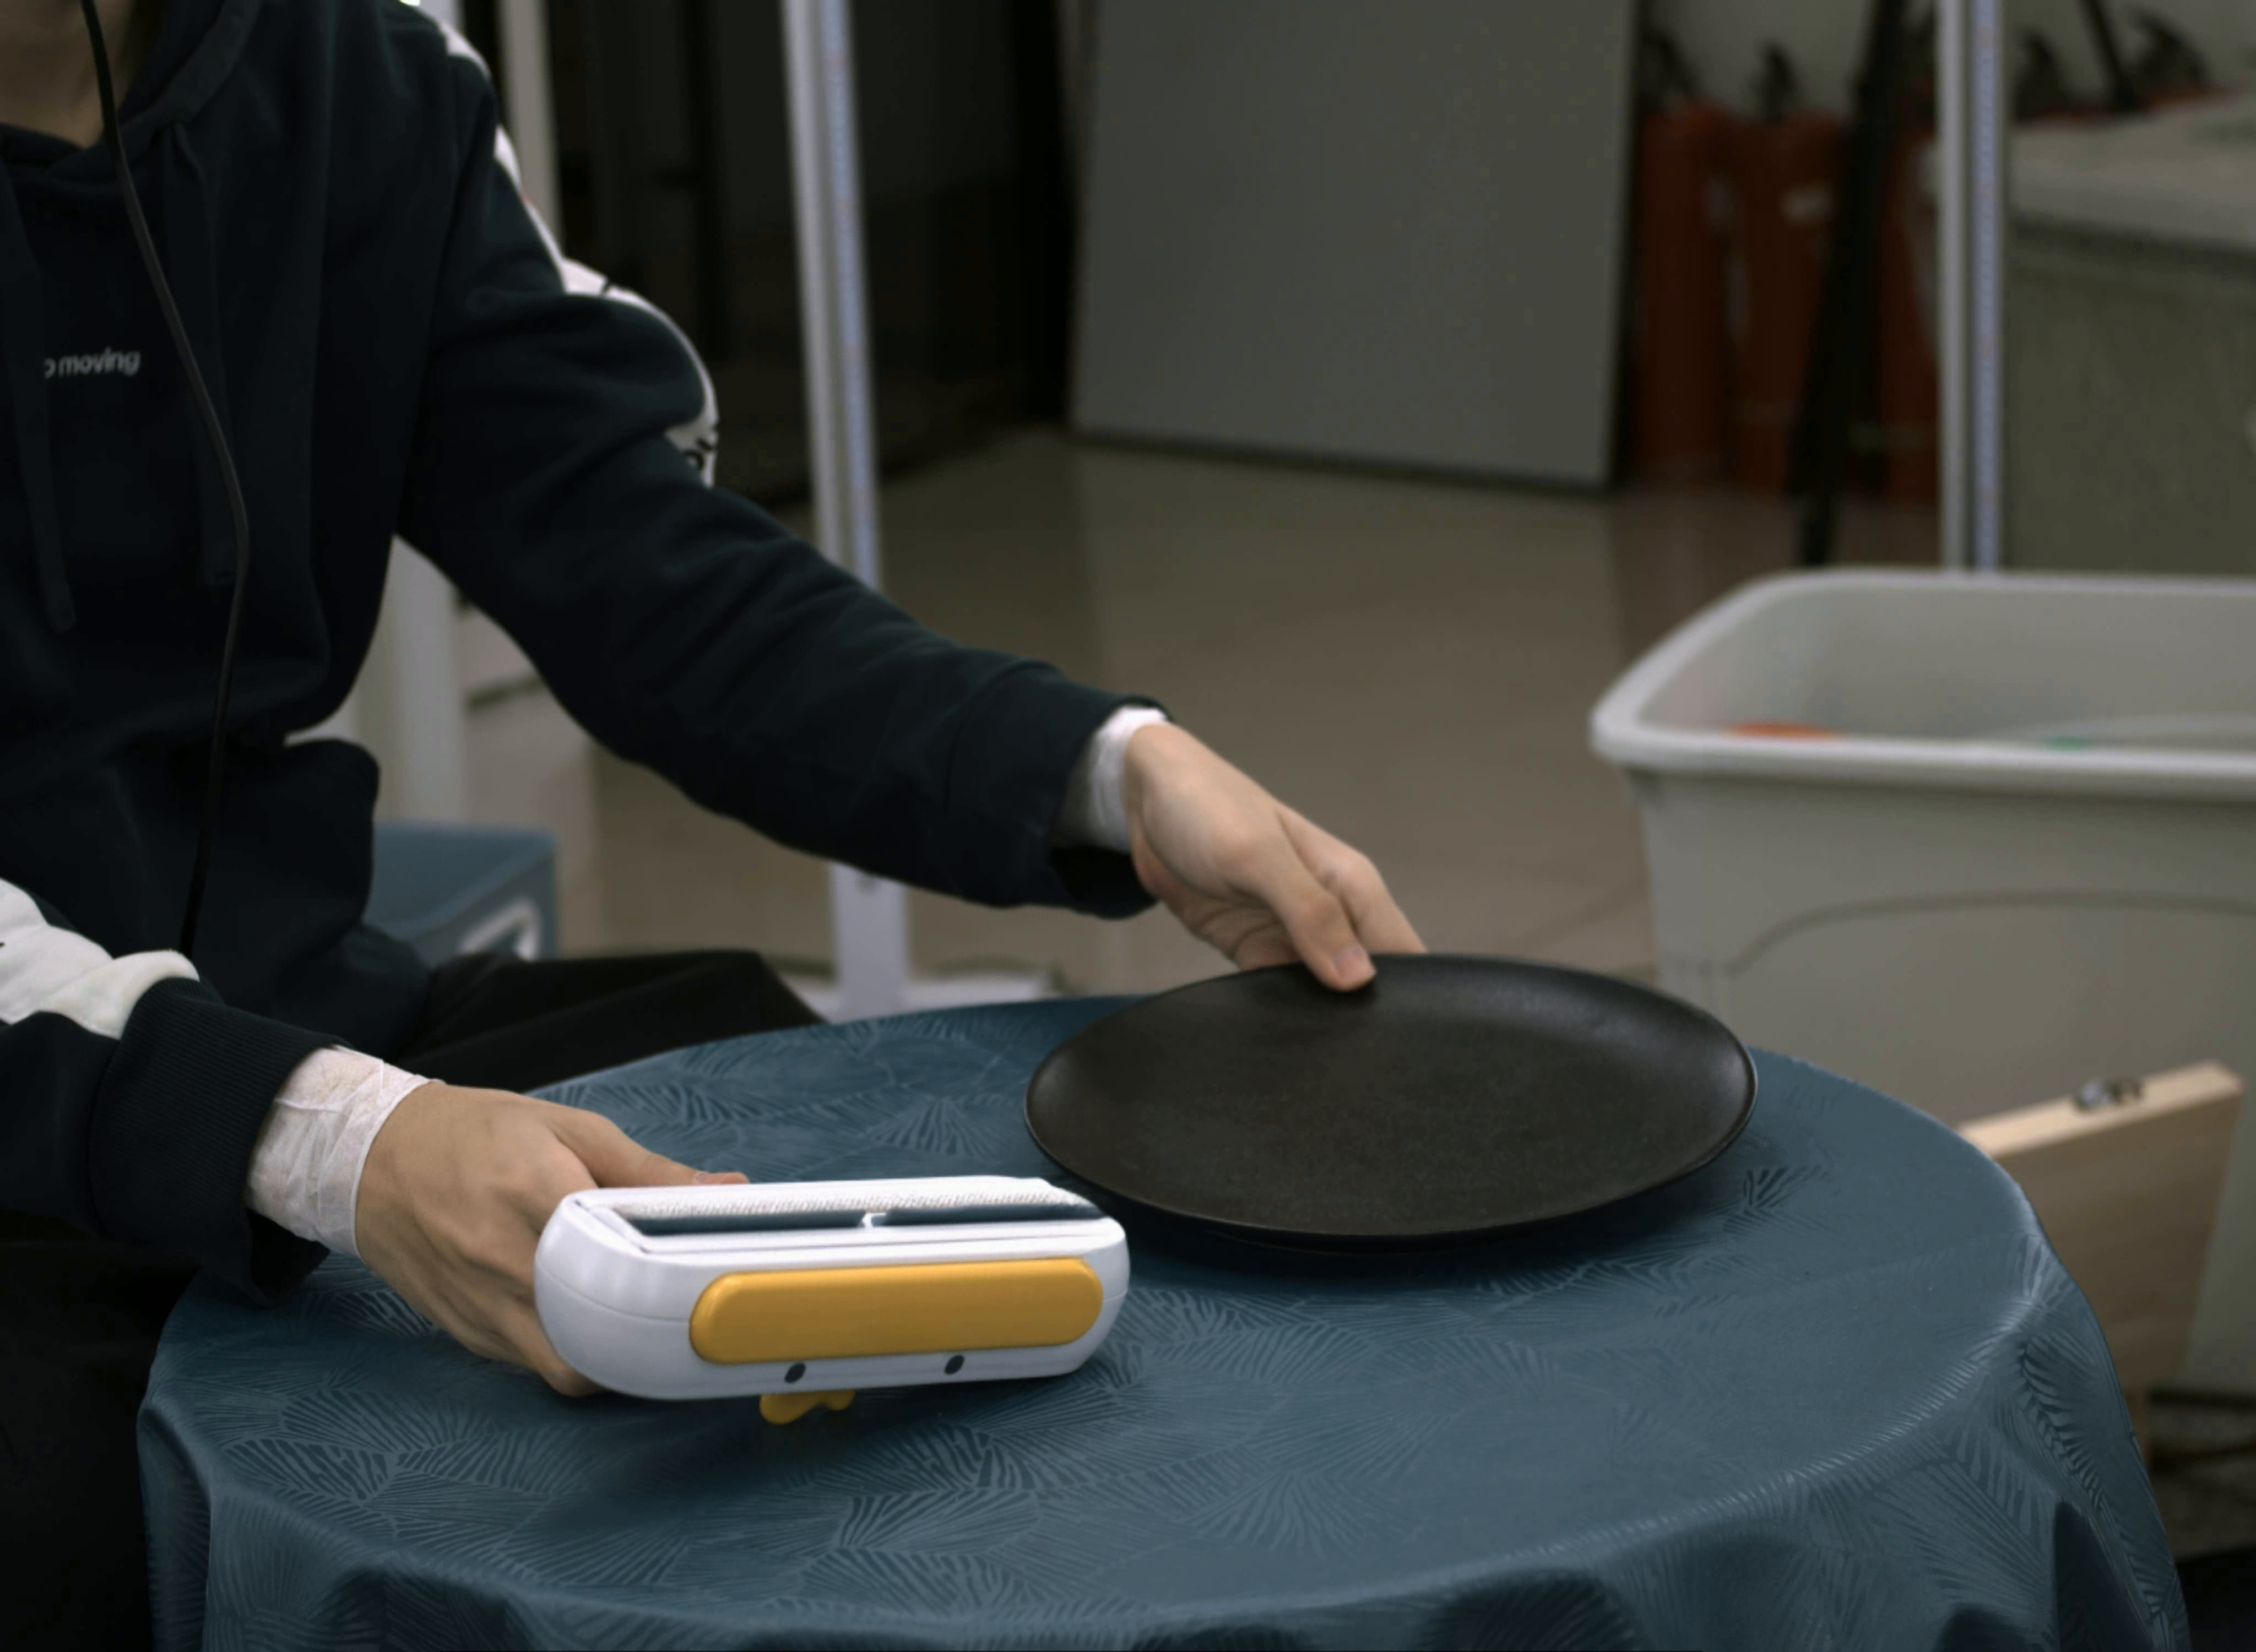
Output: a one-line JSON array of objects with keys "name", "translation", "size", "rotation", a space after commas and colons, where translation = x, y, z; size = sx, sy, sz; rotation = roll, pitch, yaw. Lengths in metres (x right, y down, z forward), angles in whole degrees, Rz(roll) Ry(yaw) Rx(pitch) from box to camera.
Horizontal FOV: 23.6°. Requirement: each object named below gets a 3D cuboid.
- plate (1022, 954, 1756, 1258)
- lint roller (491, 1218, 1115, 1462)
[{"name": "plate", "translation": [0.086, 0.095, 1.770], "size": [0.241, 0.023, 0.245], "rotation": [-4, 19, 1]}, {"name": "lint roller", "translation": [-0.121, 0.150, 1.620], "size": [0.188, 0.075, 0.194], "rotation": [-2, -3, -31]}]
